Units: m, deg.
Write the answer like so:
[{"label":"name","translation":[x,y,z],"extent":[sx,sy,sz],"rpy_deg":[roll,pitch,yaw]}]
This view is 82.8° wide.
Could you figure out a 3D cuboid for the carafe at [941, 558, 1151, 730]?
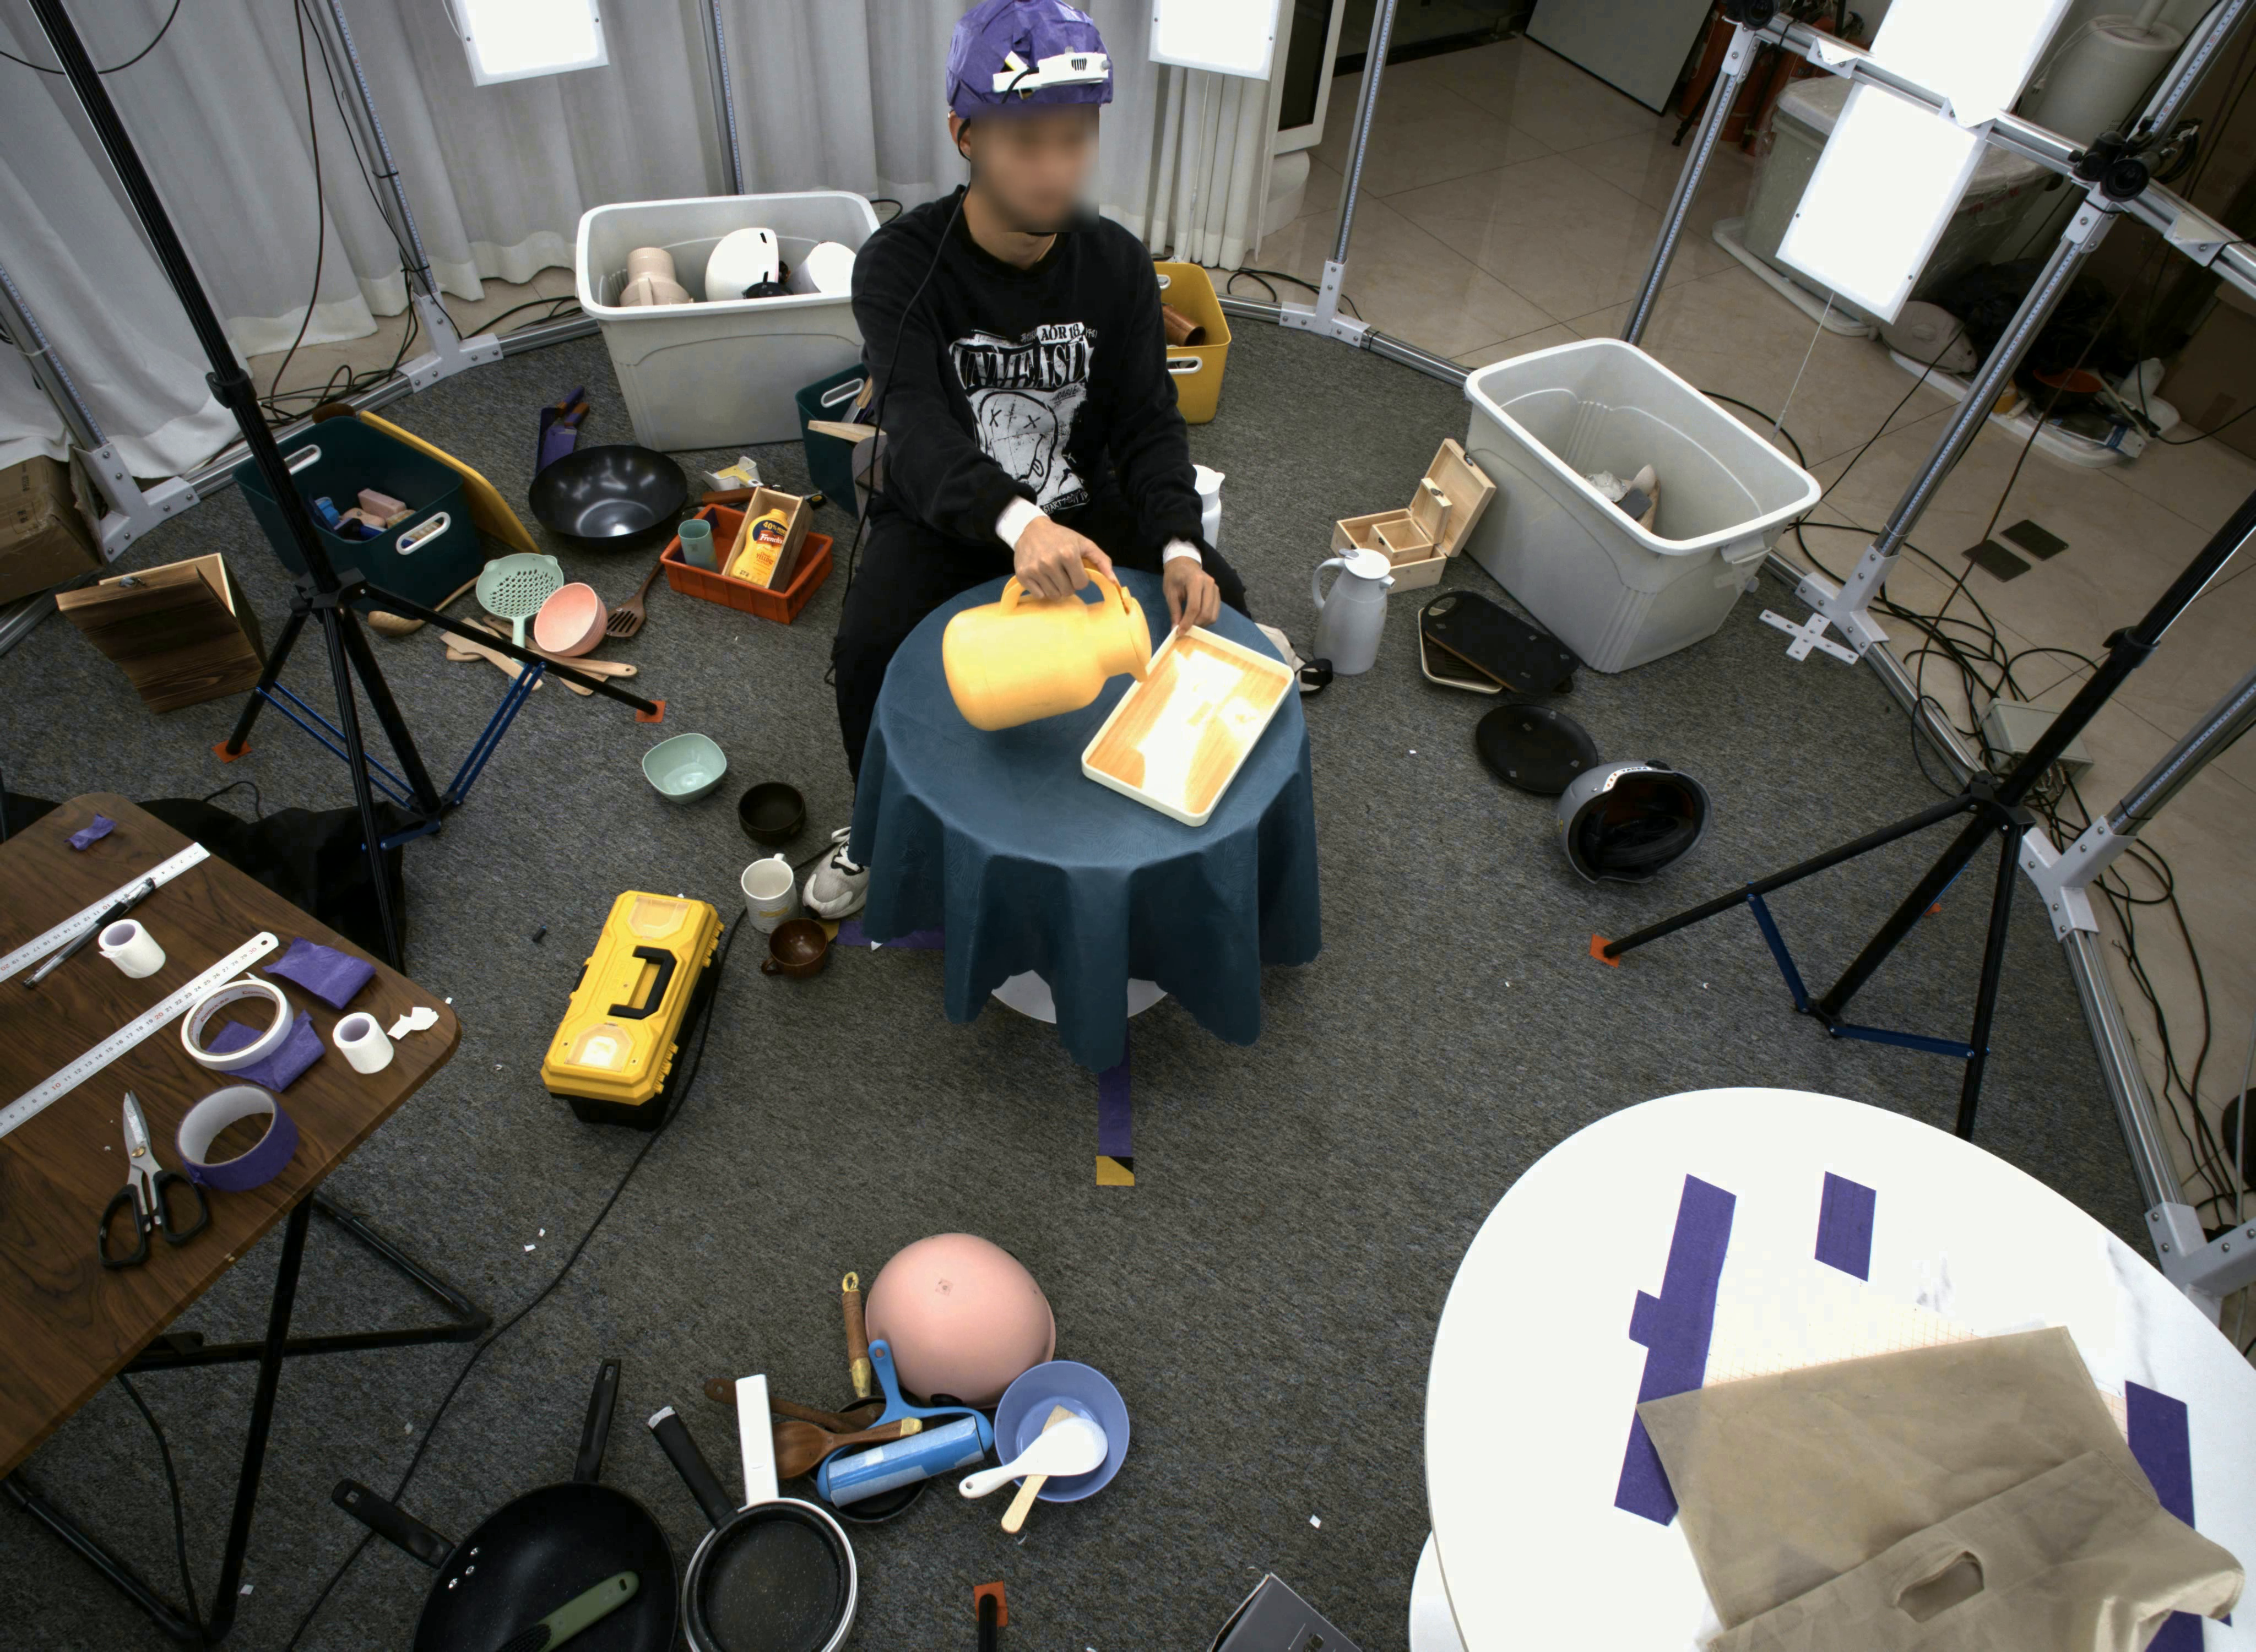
[{"label":"carafe","translation":[-0.107,-0.240,1.657],"extent":[0.260,0.197,0.167],"rpy_deg":[-12,37,9]}]

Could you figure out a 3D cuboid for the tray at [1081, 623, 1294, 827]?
[{"label":"tray","translation":[0.085,-0.146,1.764],"extent":[0.193,0.027,0.305],"rpy_deg":[25,57,15]}]
